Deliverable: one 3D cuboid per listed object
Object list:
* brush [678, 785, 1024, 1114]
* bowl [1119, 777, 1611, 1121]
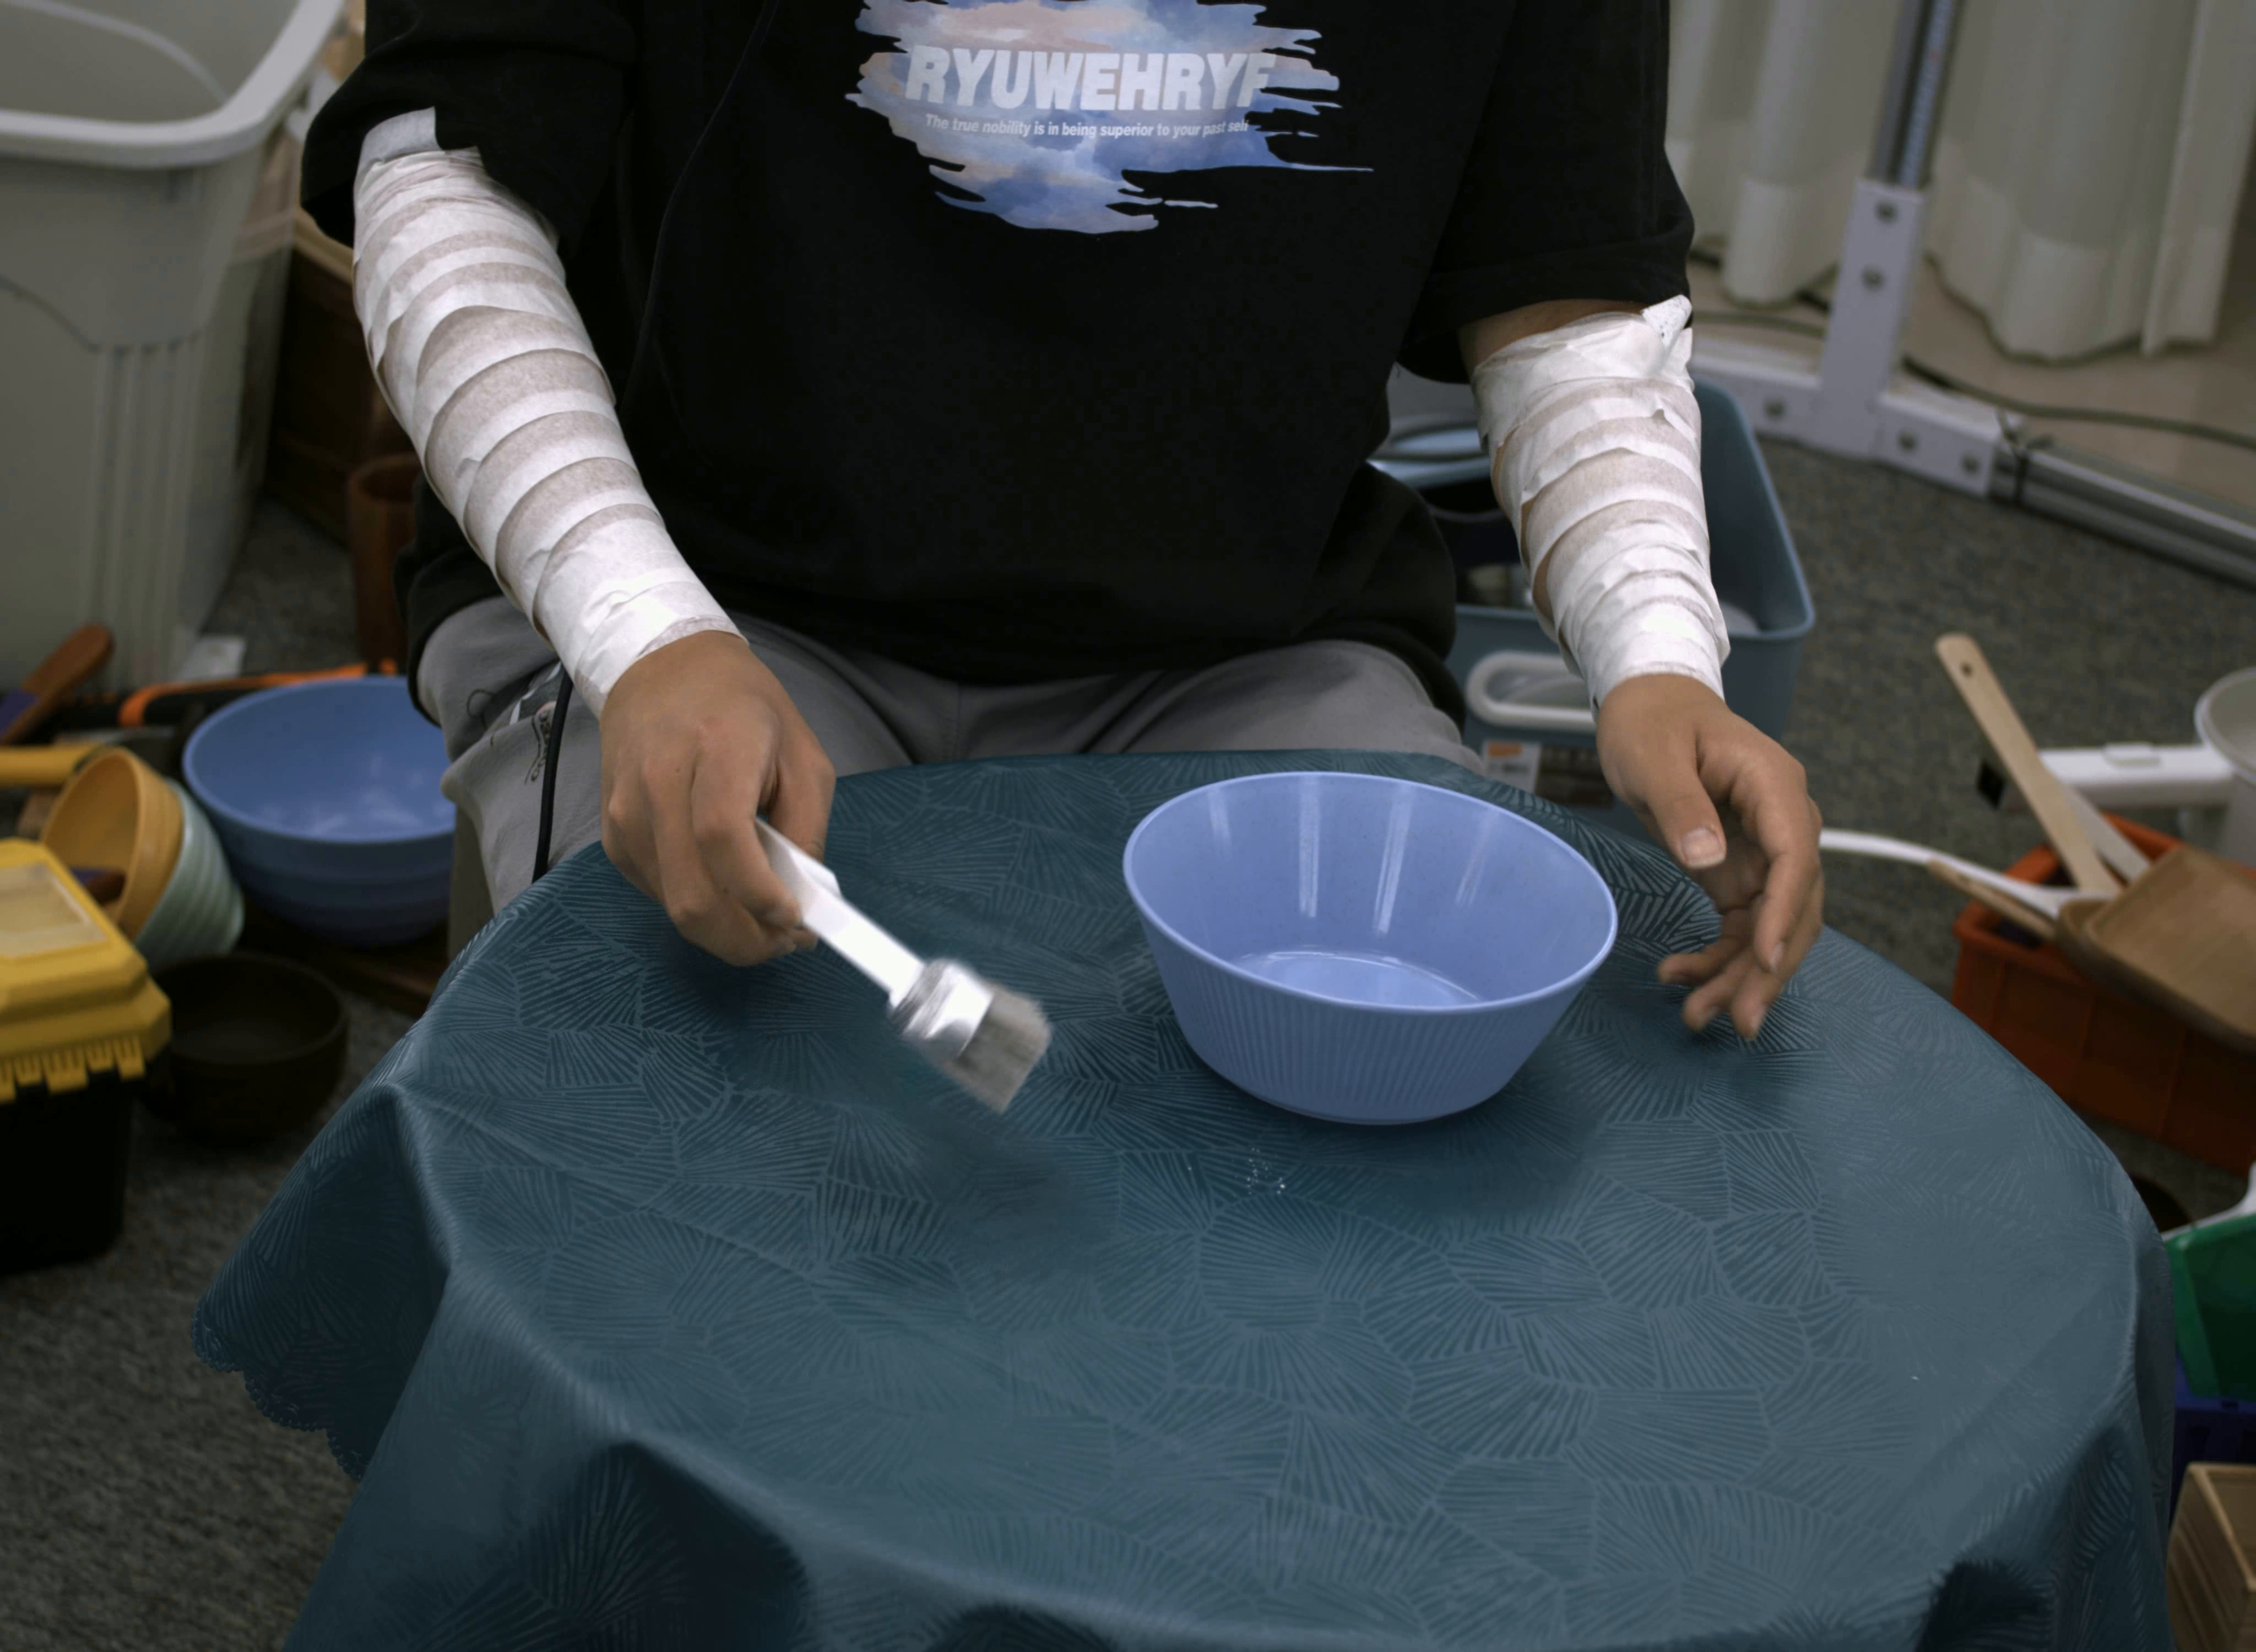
[{"bbox_3d":[-0.095,0.039,1.840,0.050,0.034,0.245,19,10,-30],"label":"brush"},{"bbox_3d":[0.080,0.049,1.892,0.175,0.070,0.177,6,26,-3],"label":"bowl"}]
